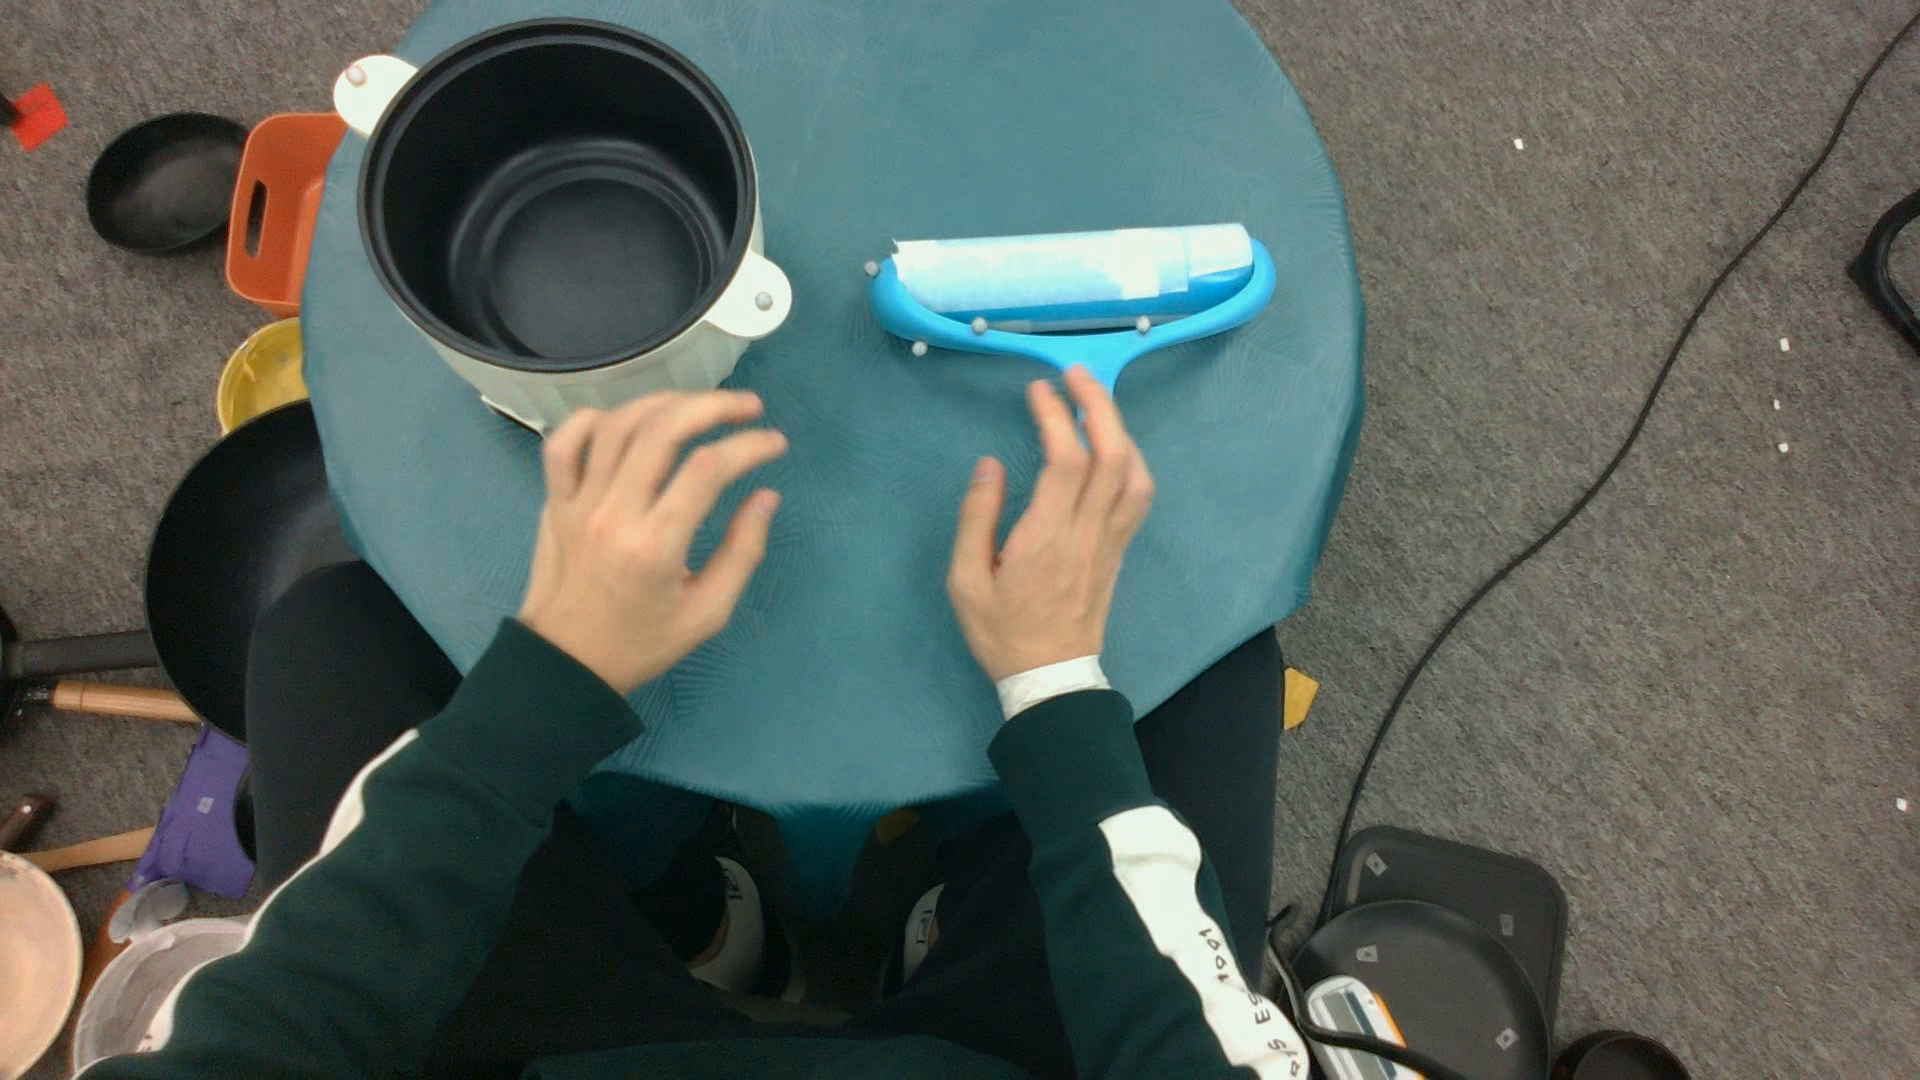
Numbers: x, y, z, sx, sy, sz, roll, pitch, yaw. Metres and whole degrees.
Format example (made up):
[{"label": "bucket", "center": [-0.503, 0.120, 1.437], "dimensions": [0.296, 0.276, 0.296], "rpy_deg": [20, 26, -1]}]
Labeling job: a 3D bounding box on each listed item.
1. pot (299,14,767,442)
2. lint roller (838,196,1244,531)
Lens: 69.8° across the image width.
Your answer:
[{"label": "pot", "center": [-0.203, -0.155, 0.704], "dimensions": [0.240, 0.142, 0.191], "rpy_deg": [27, 79, 1]}, {"label": "lint roller", "center": [0.057, -0.099, 0.756], "dimensions": [0.229, 0.068, 0.180], "rpy_deg": [-9, 76, -9]}]
